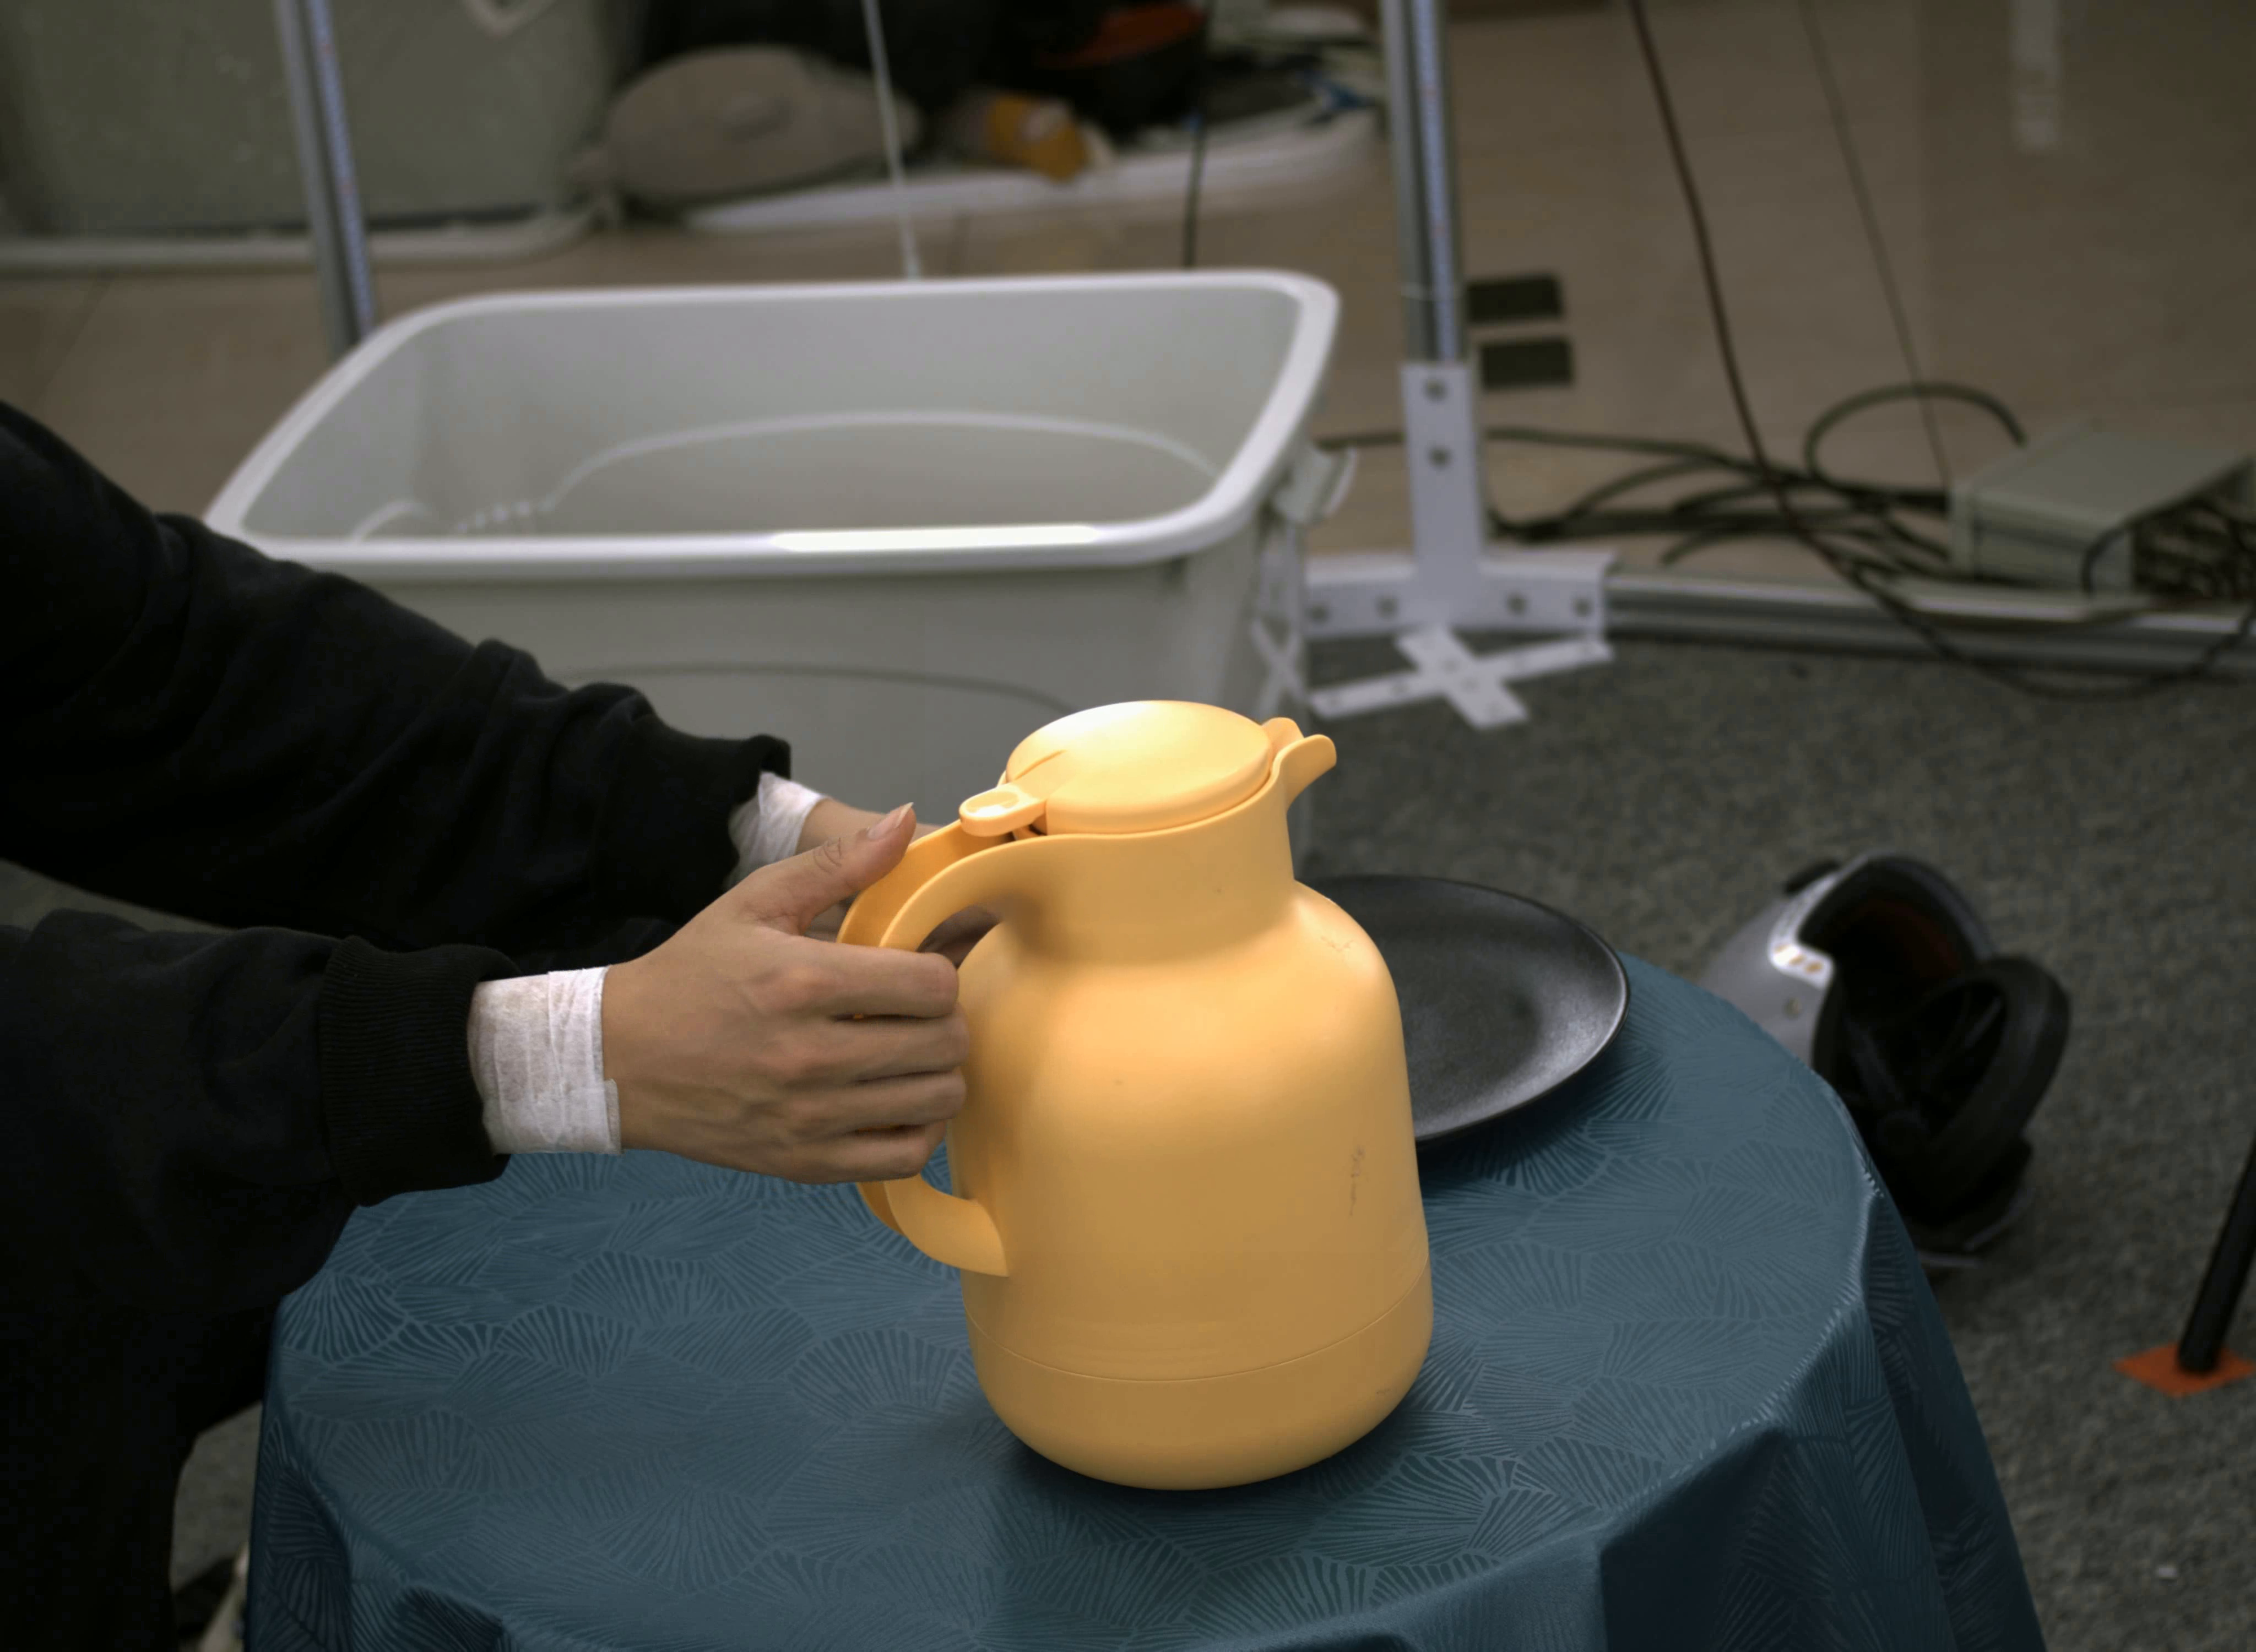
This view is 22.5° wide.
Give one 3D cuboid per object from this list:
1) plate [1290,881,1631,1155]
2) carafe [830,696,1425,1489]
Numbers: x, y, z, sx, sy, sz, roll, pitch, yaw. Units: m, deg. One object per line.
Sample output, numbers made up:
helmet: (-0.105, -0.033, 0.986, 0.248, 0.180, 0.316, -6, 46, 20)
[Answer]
plate: (0.076, 0.082, 2.225, 0.244, 0.024, 0.241, -5, 25, 2)
carafe: (-0.003, 0.091, 1.937, 0.201, 0.264, 0.162, -16, 25, -24)
